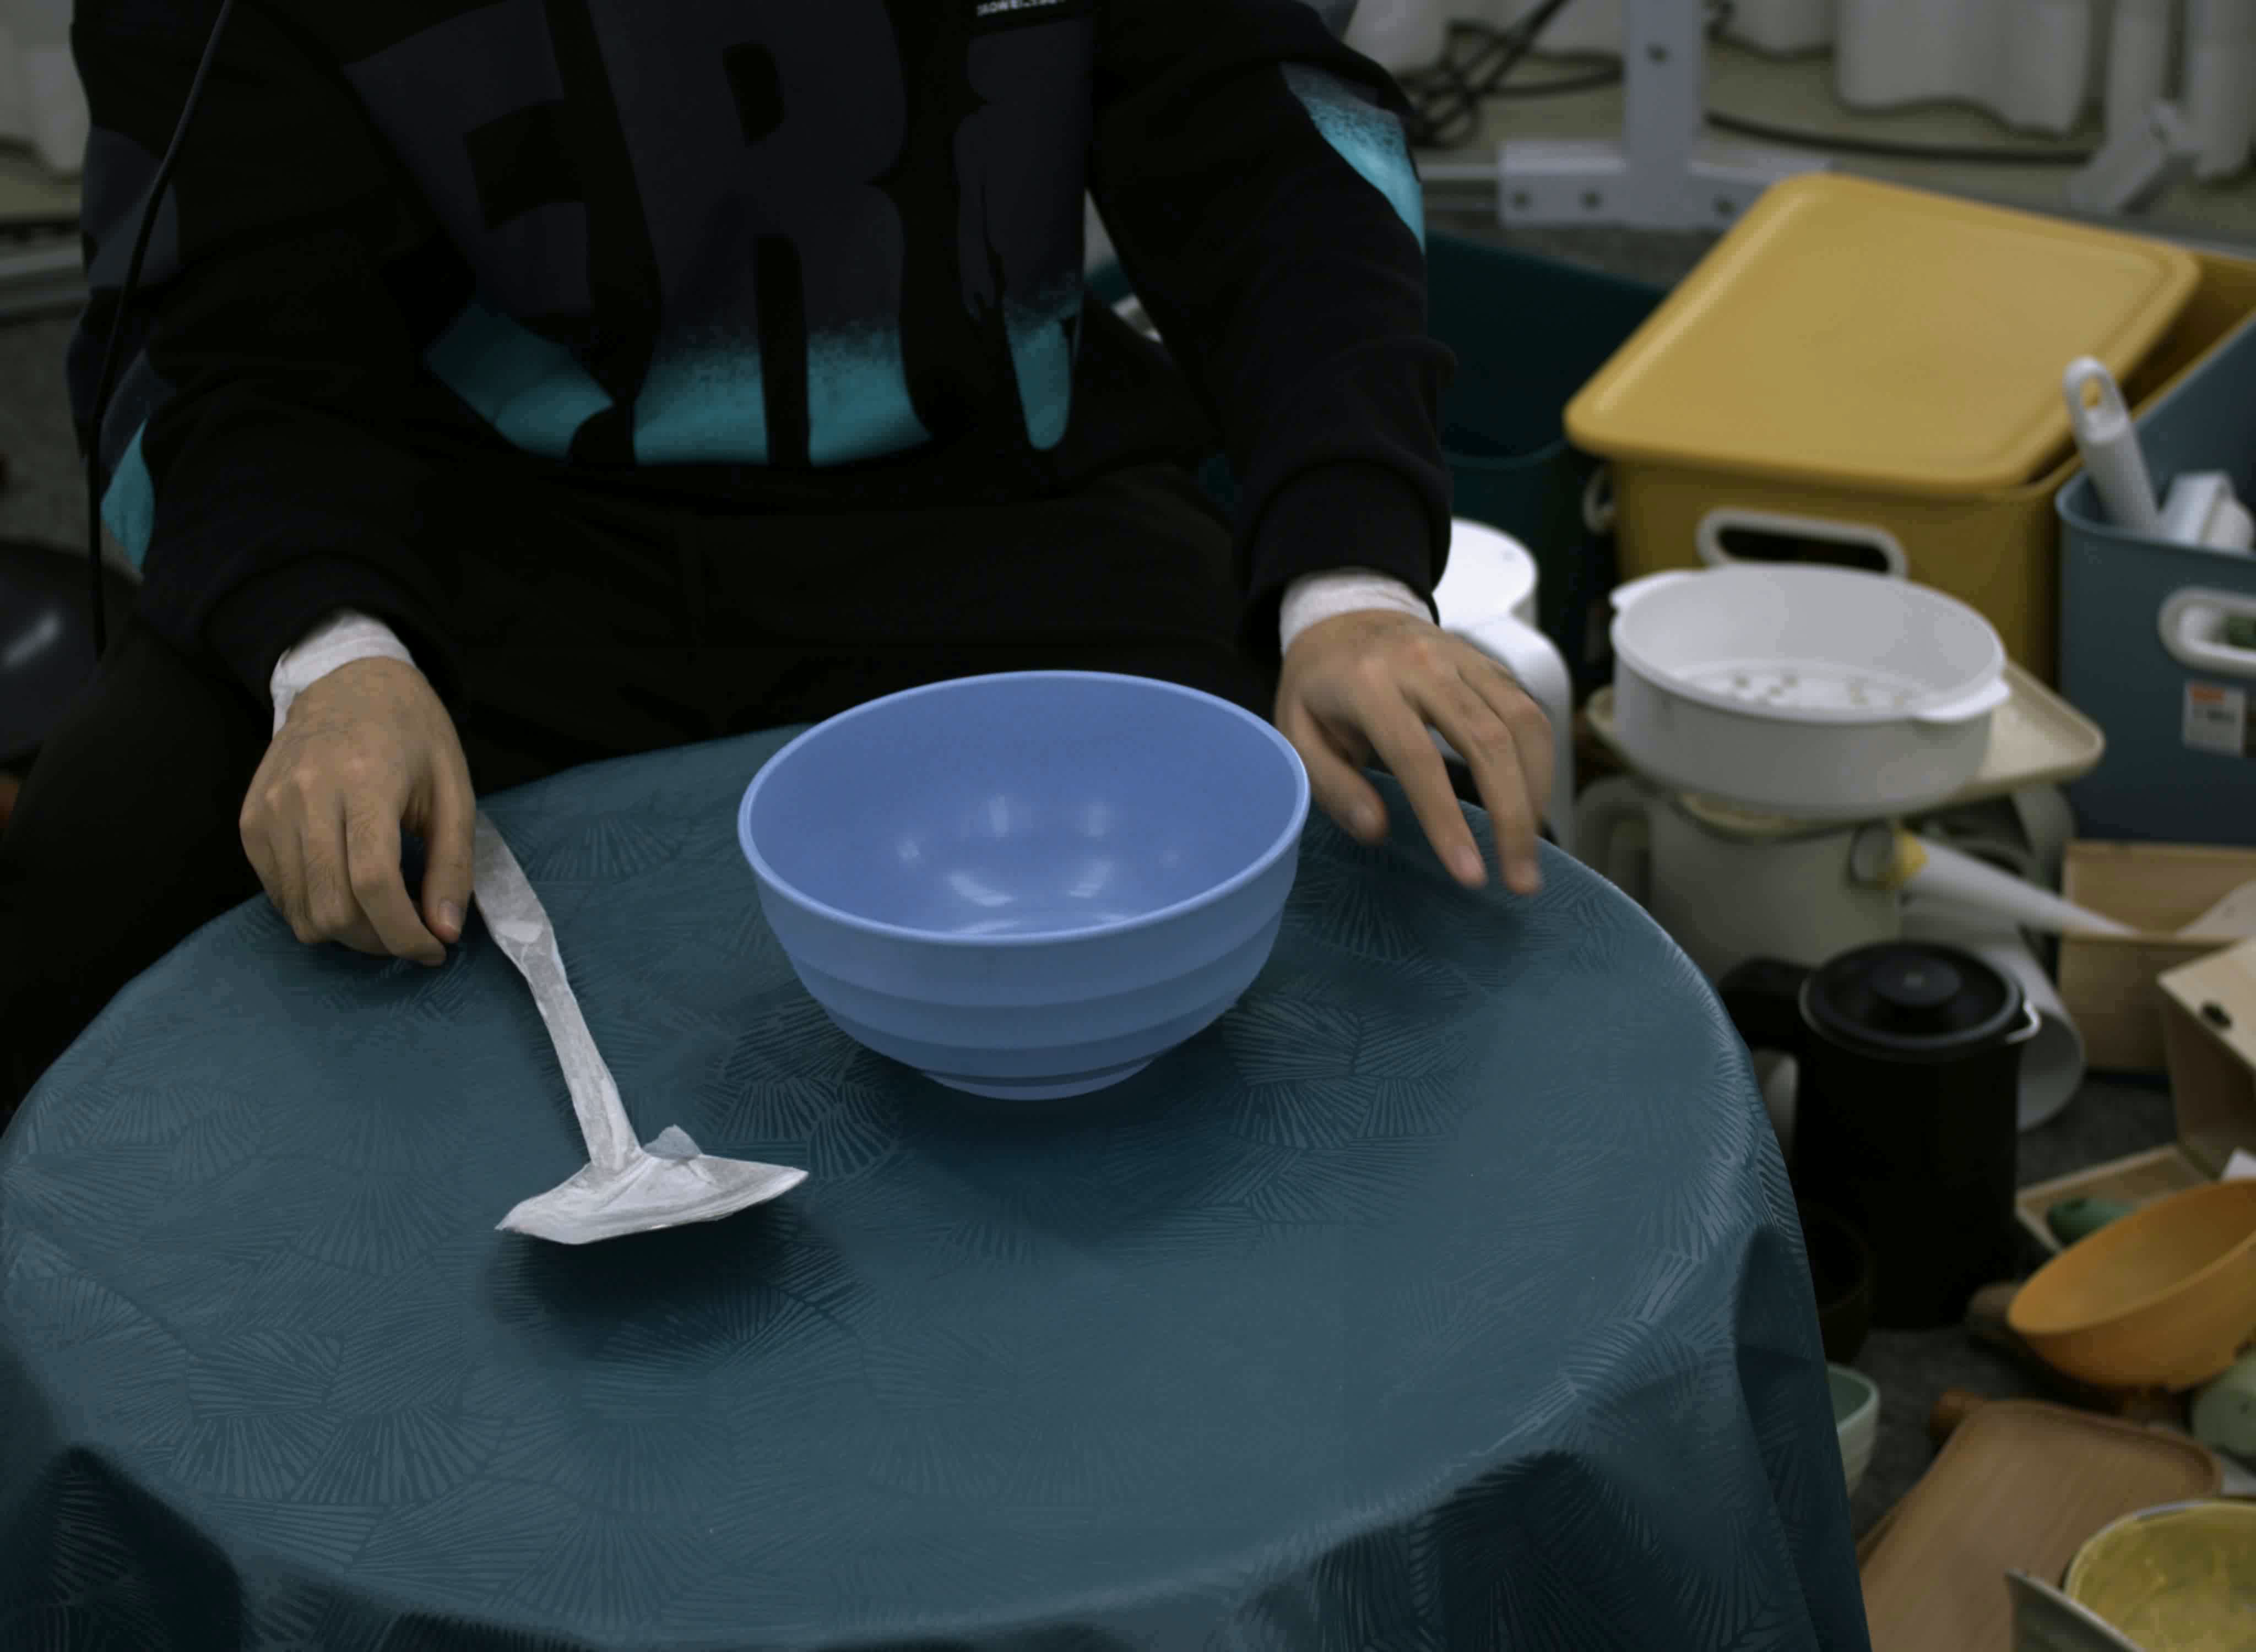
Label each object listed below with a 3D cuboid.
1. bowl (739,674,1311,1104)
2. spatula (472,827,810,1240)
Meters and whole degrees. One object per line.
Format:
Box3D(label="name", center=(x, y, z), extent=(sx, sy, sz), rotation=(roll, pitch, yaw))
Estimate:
Box3D(label="bowl", center=(-0.032, 0.032, 1.937), extent=(0.195, 0.094, 0.199), rotation=(-3, 27, 2))
Box3D(label="spatula", center=(-0.192, 0.064, 1.950), extent=(0.099, 0.044, 0.368), rotation=(-12, 29, -12))
